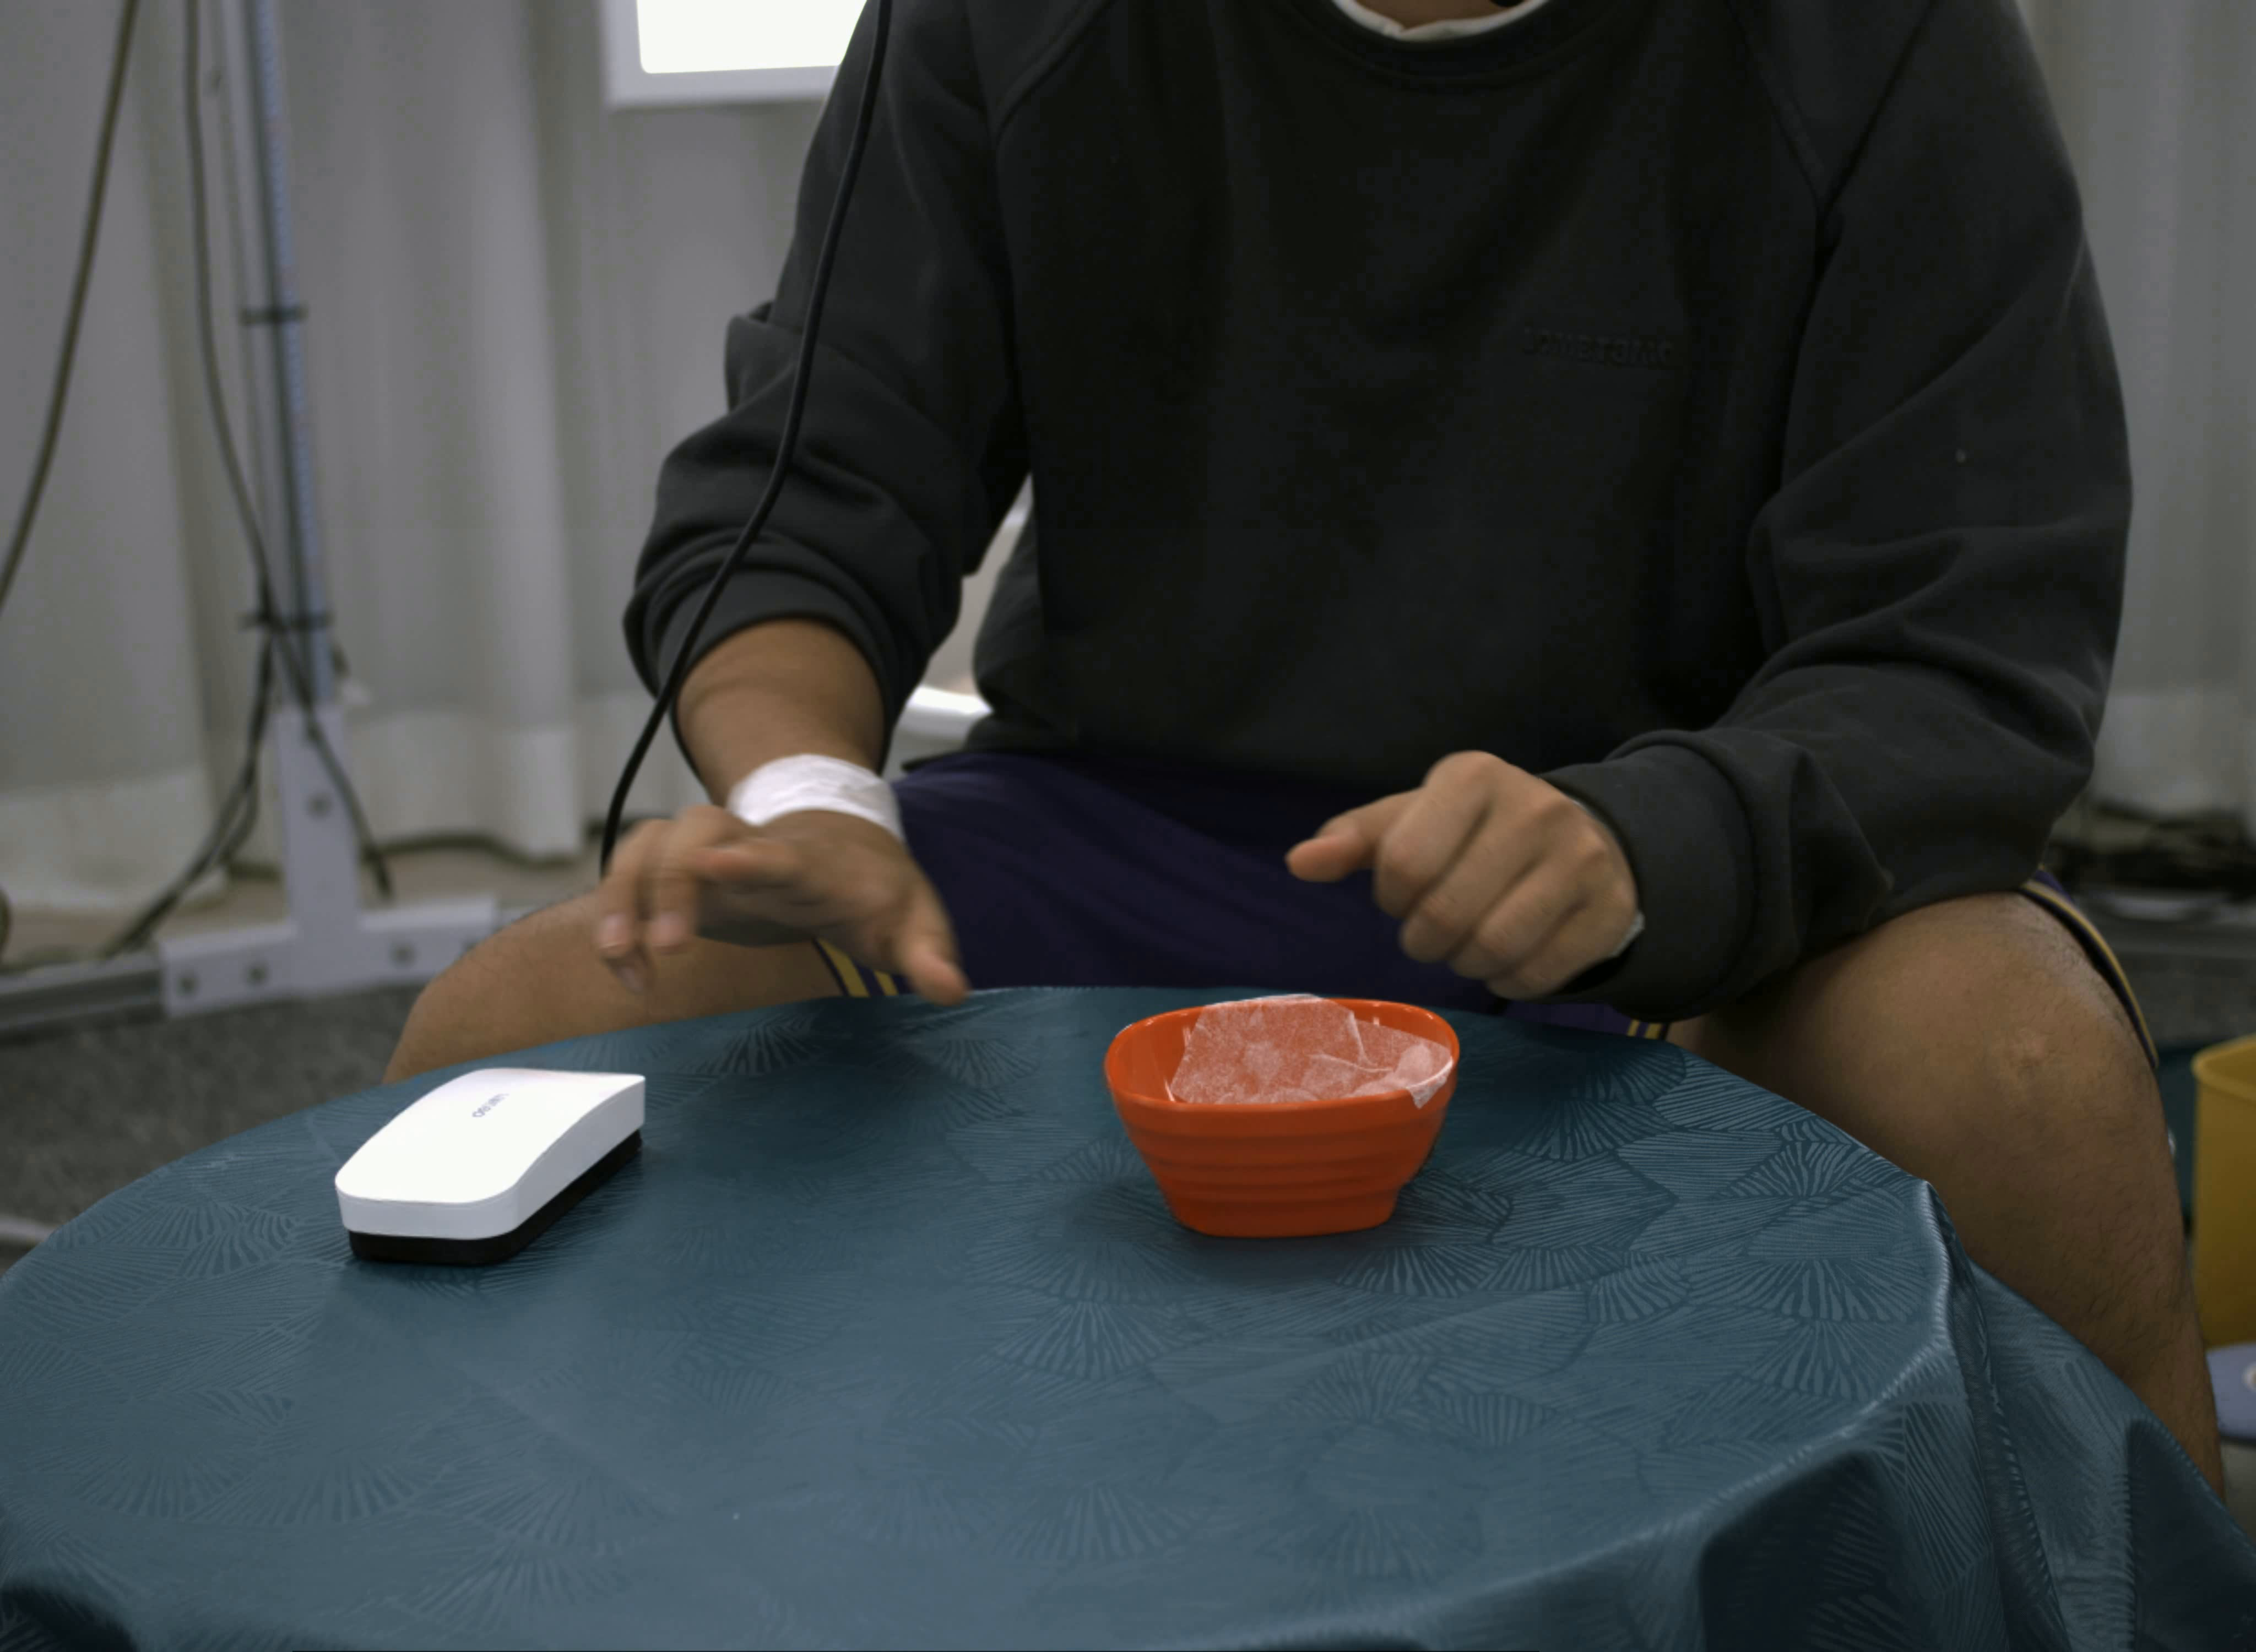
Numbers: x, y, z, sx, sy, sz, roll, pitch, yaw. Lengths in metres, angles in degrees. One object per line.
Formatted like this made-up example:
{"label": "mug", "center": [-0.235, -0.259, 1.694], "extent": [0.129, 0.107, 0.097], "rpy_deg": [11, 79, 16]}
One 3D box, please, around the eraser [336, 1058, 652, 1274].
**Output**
{"label": "eraser", "center": [-0.198, 0.104, 1.734], "extent": [0.063, 0.034, 0.132], "rpy_deg": [3, 18, 19]}

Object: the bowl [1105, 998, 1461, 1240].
{"label": "bowl", "center": [0.049, 0.093, 1.690], "extent": [0.118, 0.051, 0.120], "rpy_deg": [-4, 15, 1]}
